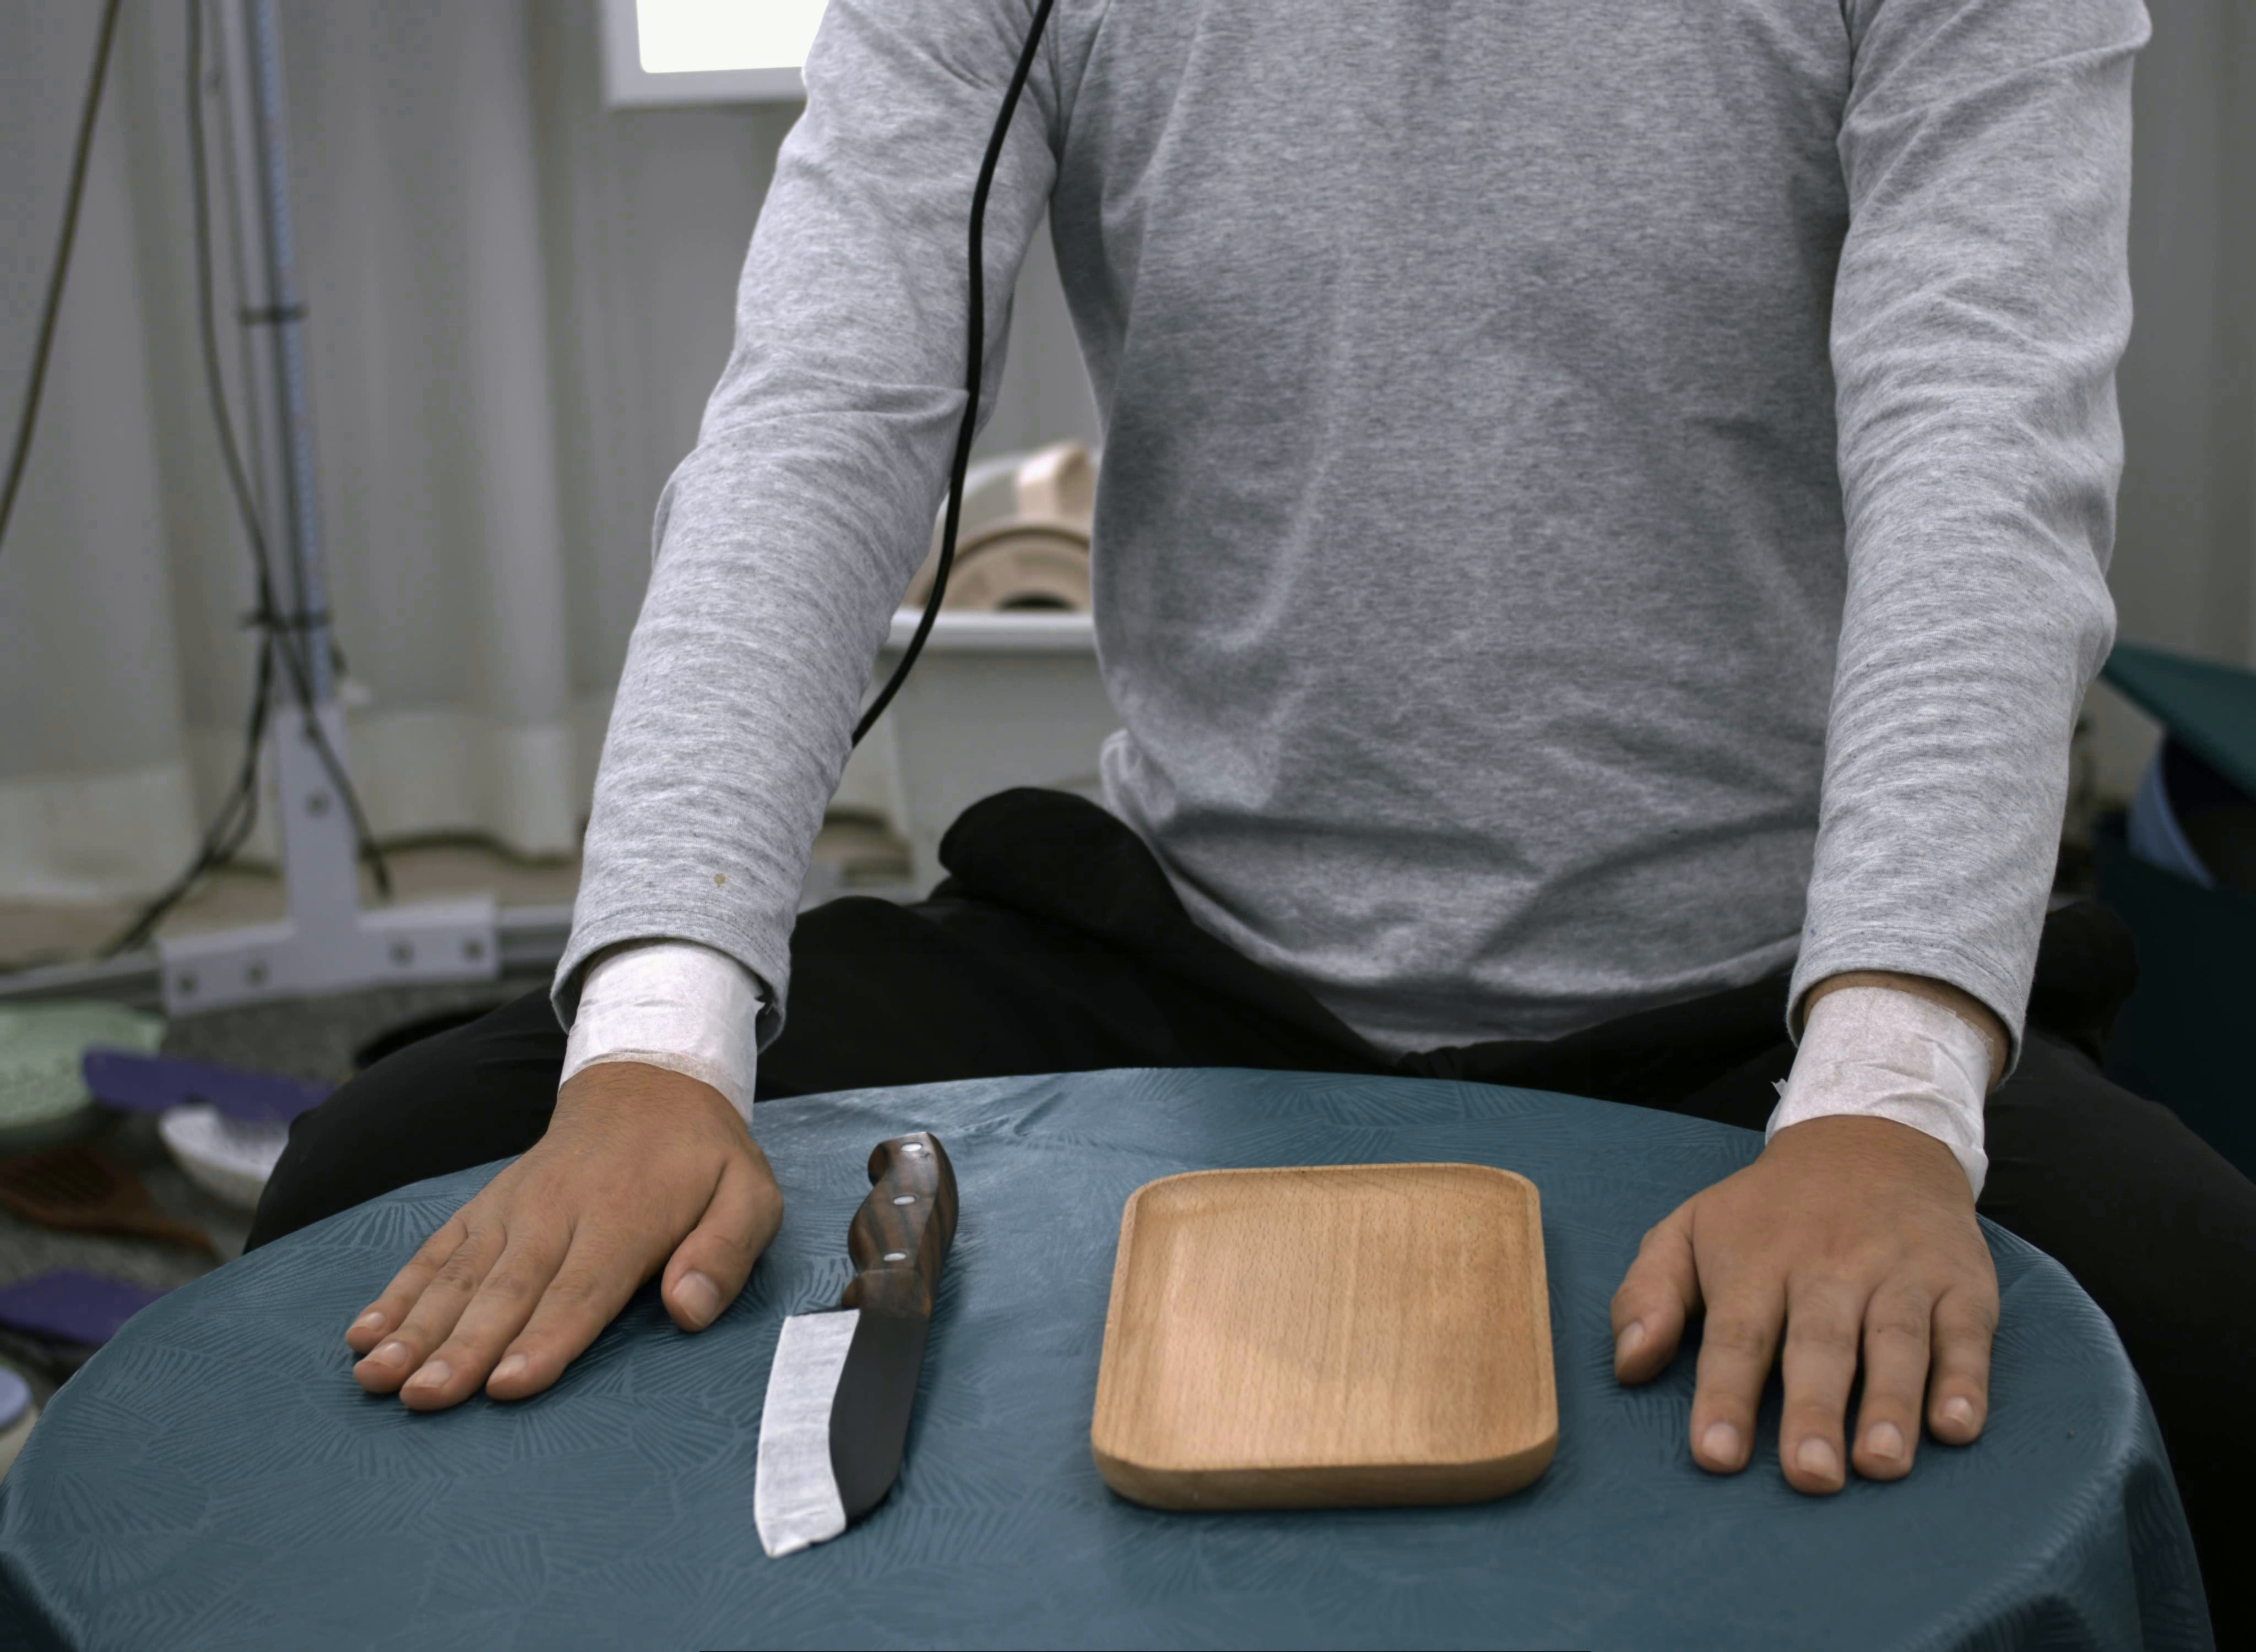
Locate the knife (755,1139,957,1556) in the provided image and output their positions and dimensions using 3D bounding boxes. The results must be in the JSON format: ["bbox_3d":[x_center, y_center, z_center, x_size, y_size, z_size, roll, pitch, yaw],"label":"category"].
[{"bbox_3d":[-0.077,0.149,1.575,0.050,0.020,0.291,-6,17,7],"label":"knife"}]

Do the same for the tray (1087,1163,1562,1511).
[{"bbox_3d":[0.058,0.144,1.567,0.130,0.023,0.252,0,14,4],"label":"tray"}]
